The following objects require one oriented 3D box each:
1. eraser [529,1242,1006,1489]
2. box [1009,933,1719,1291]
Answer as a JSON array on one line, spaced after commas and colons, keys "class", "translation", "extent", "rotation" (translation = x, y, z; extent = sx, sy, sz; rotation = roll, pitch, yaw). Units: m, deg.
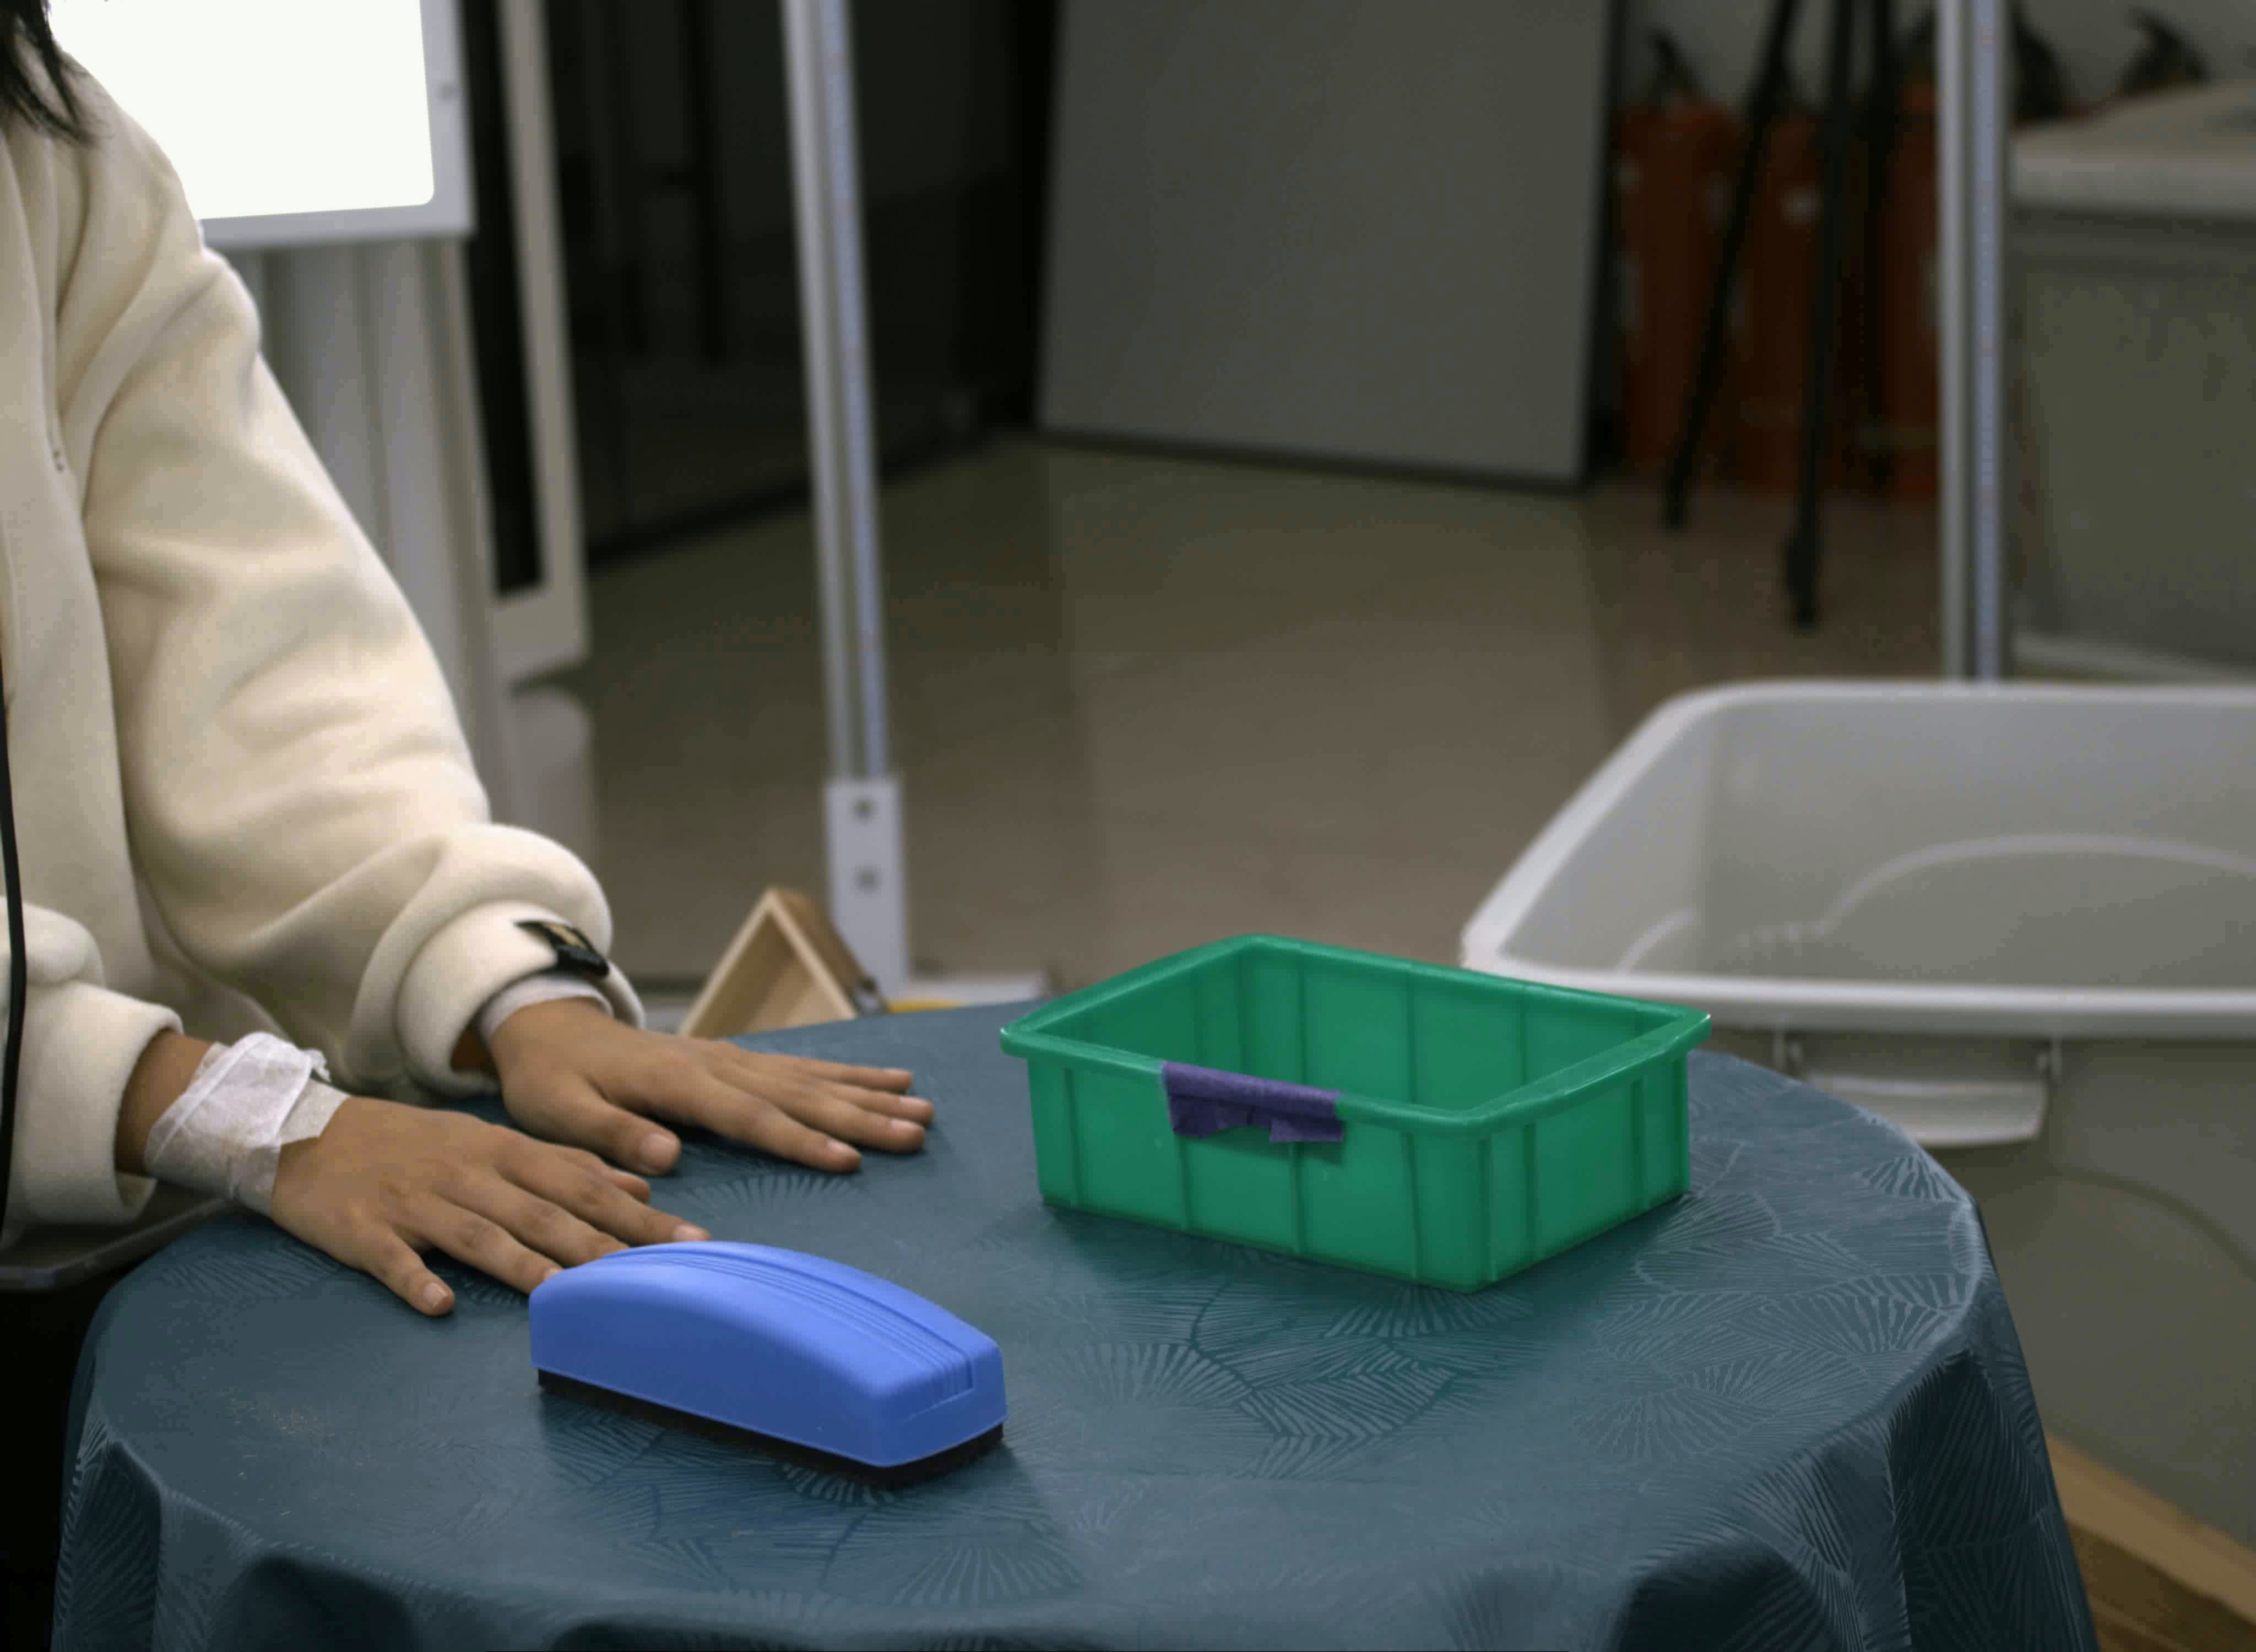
[{"class": "eraser", "translation": [-0.107, 0.152, 1.580], "extent": [0.163, 0.048, 0.053], "rotation": [9, 18, 43]}, {"class": "box", "translation": [0.077, 0.091, 1.738], "extent": [0.212, 0.066, 0.136], "rotation": [8, 20, 40]}]
